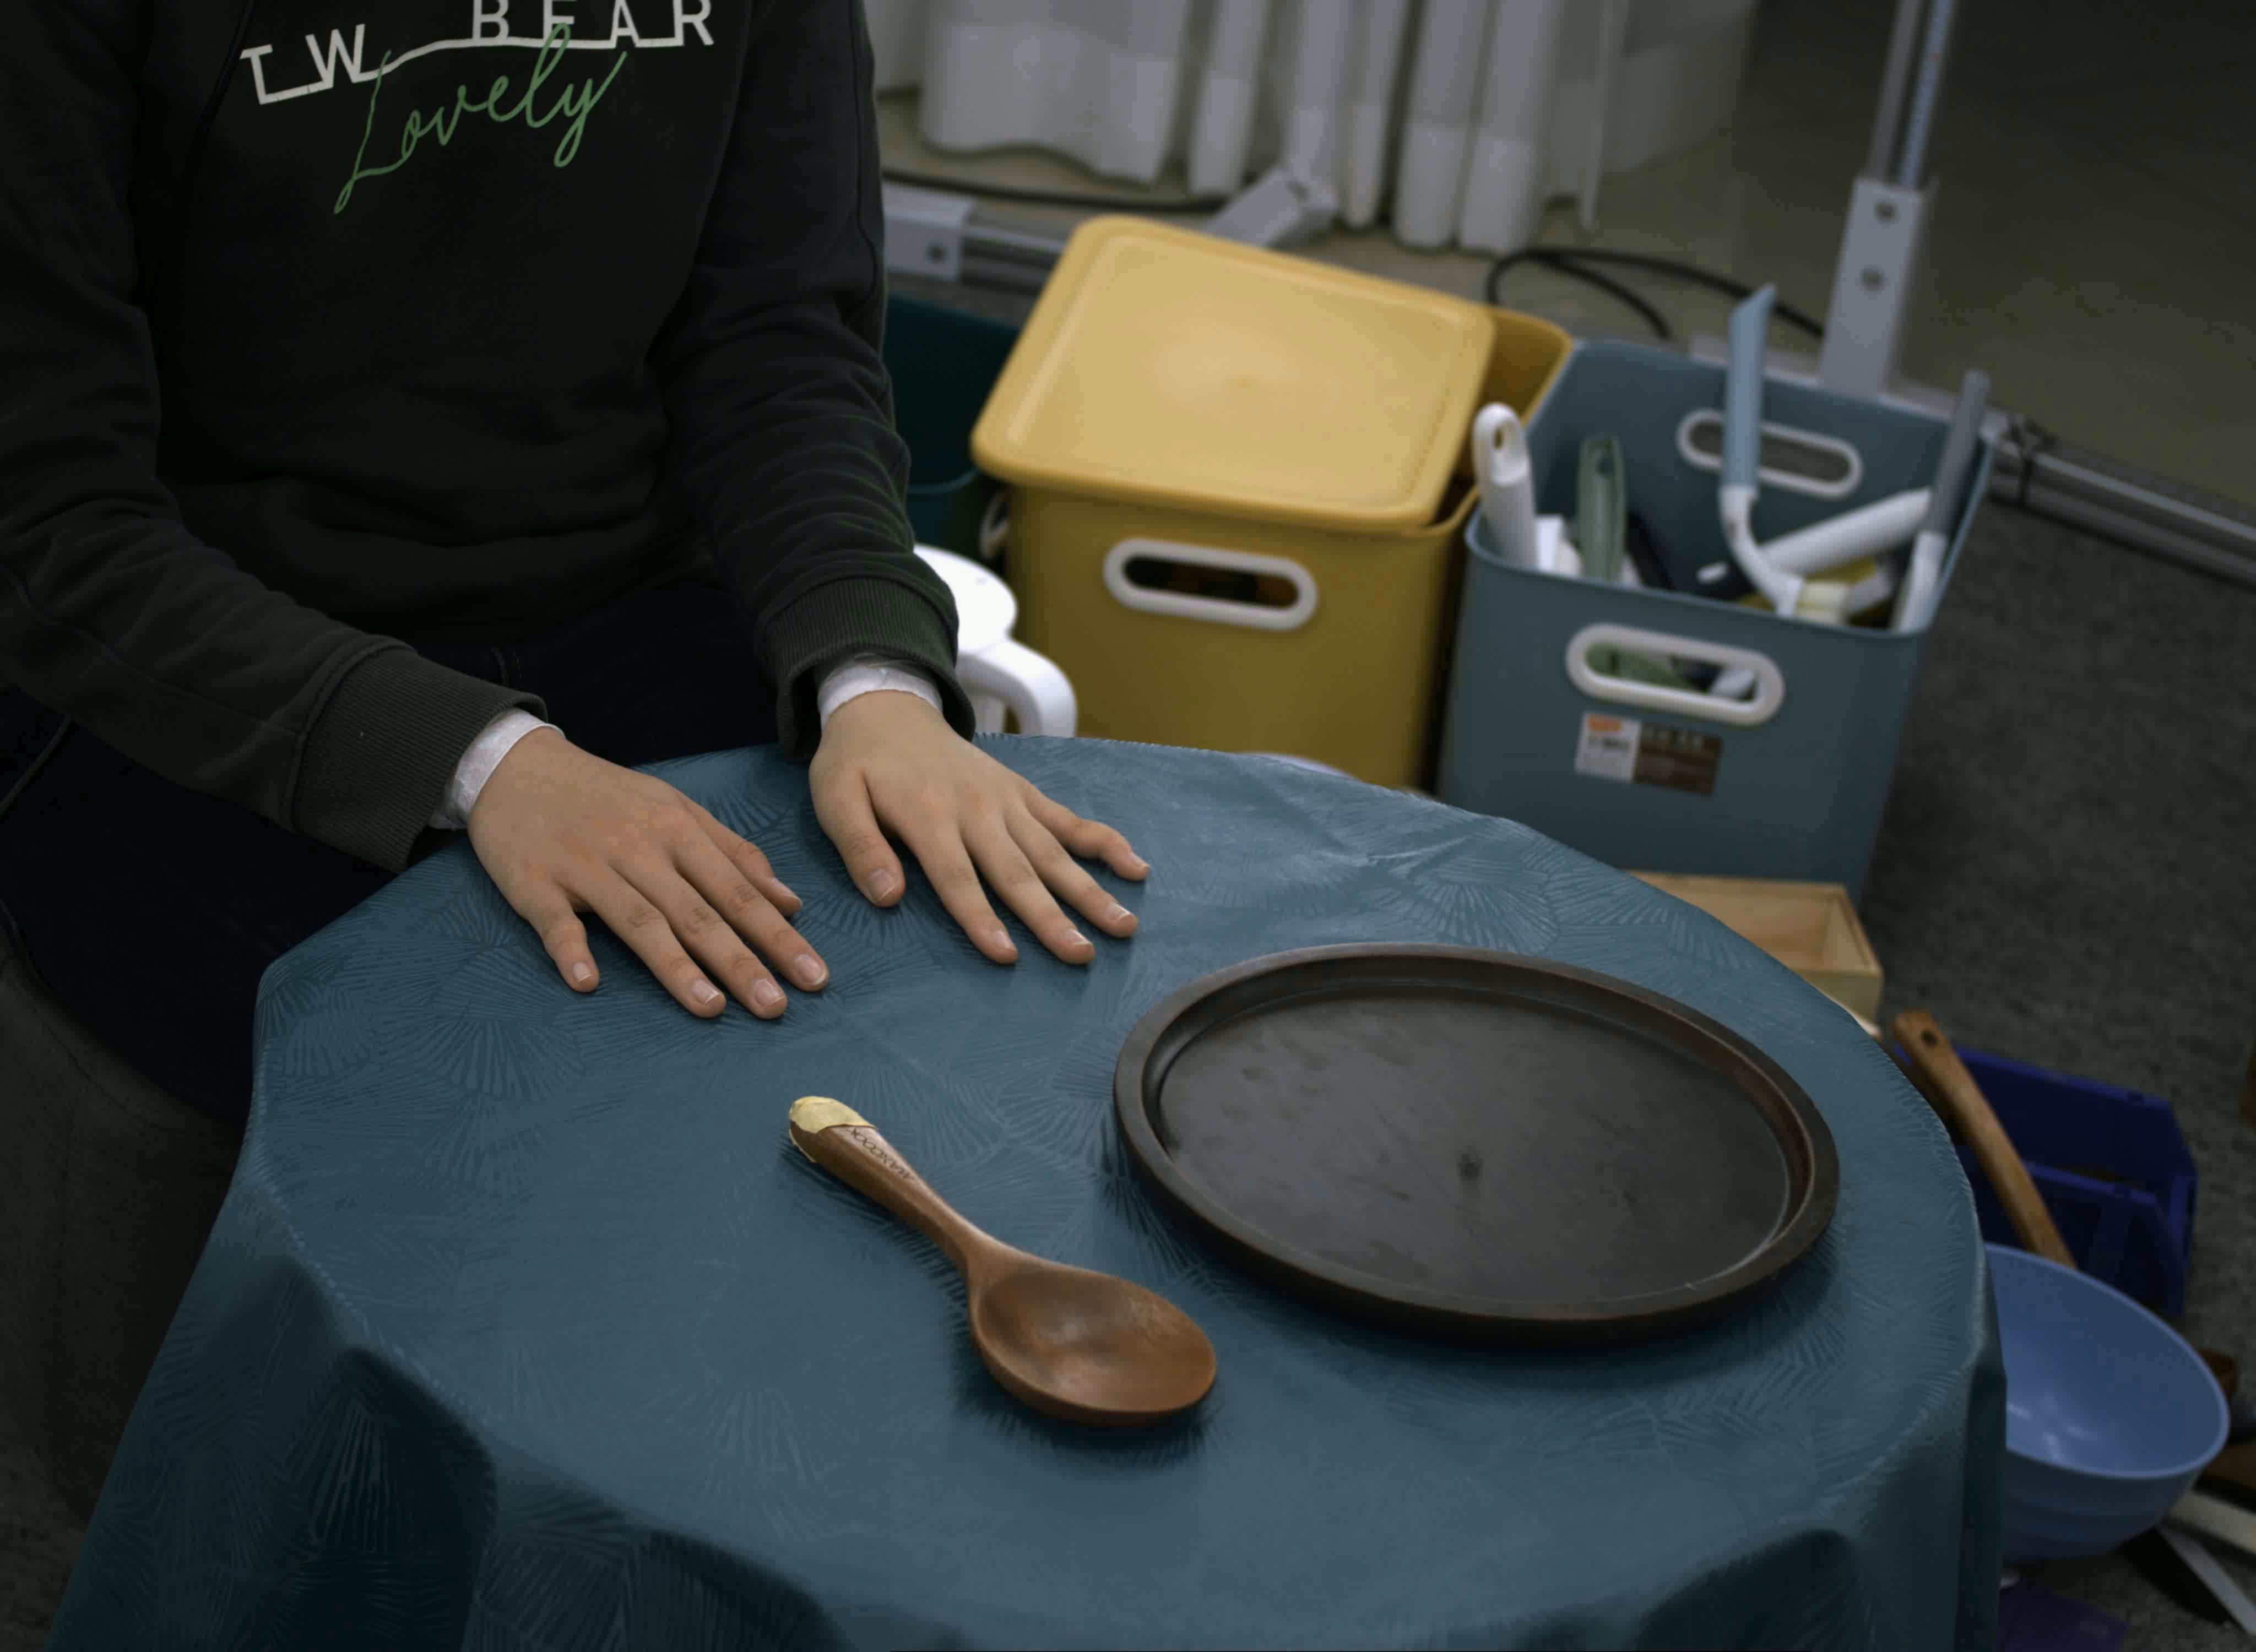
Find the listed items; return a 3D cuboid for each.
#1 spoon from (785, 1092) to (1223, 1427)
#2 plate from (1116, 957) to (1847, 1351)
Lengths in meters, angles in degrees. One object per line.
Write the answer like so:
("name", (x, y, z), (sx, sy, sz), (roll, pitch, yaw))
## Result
("spoon", (-0.048, 0.141, 1.735), (0.075, 0.017, 0.218), (-13, 33, -33))
("plate", (0.120, 0.110, 1.830), (0.254, 0.029, 0.256), (6, 26, -3))
